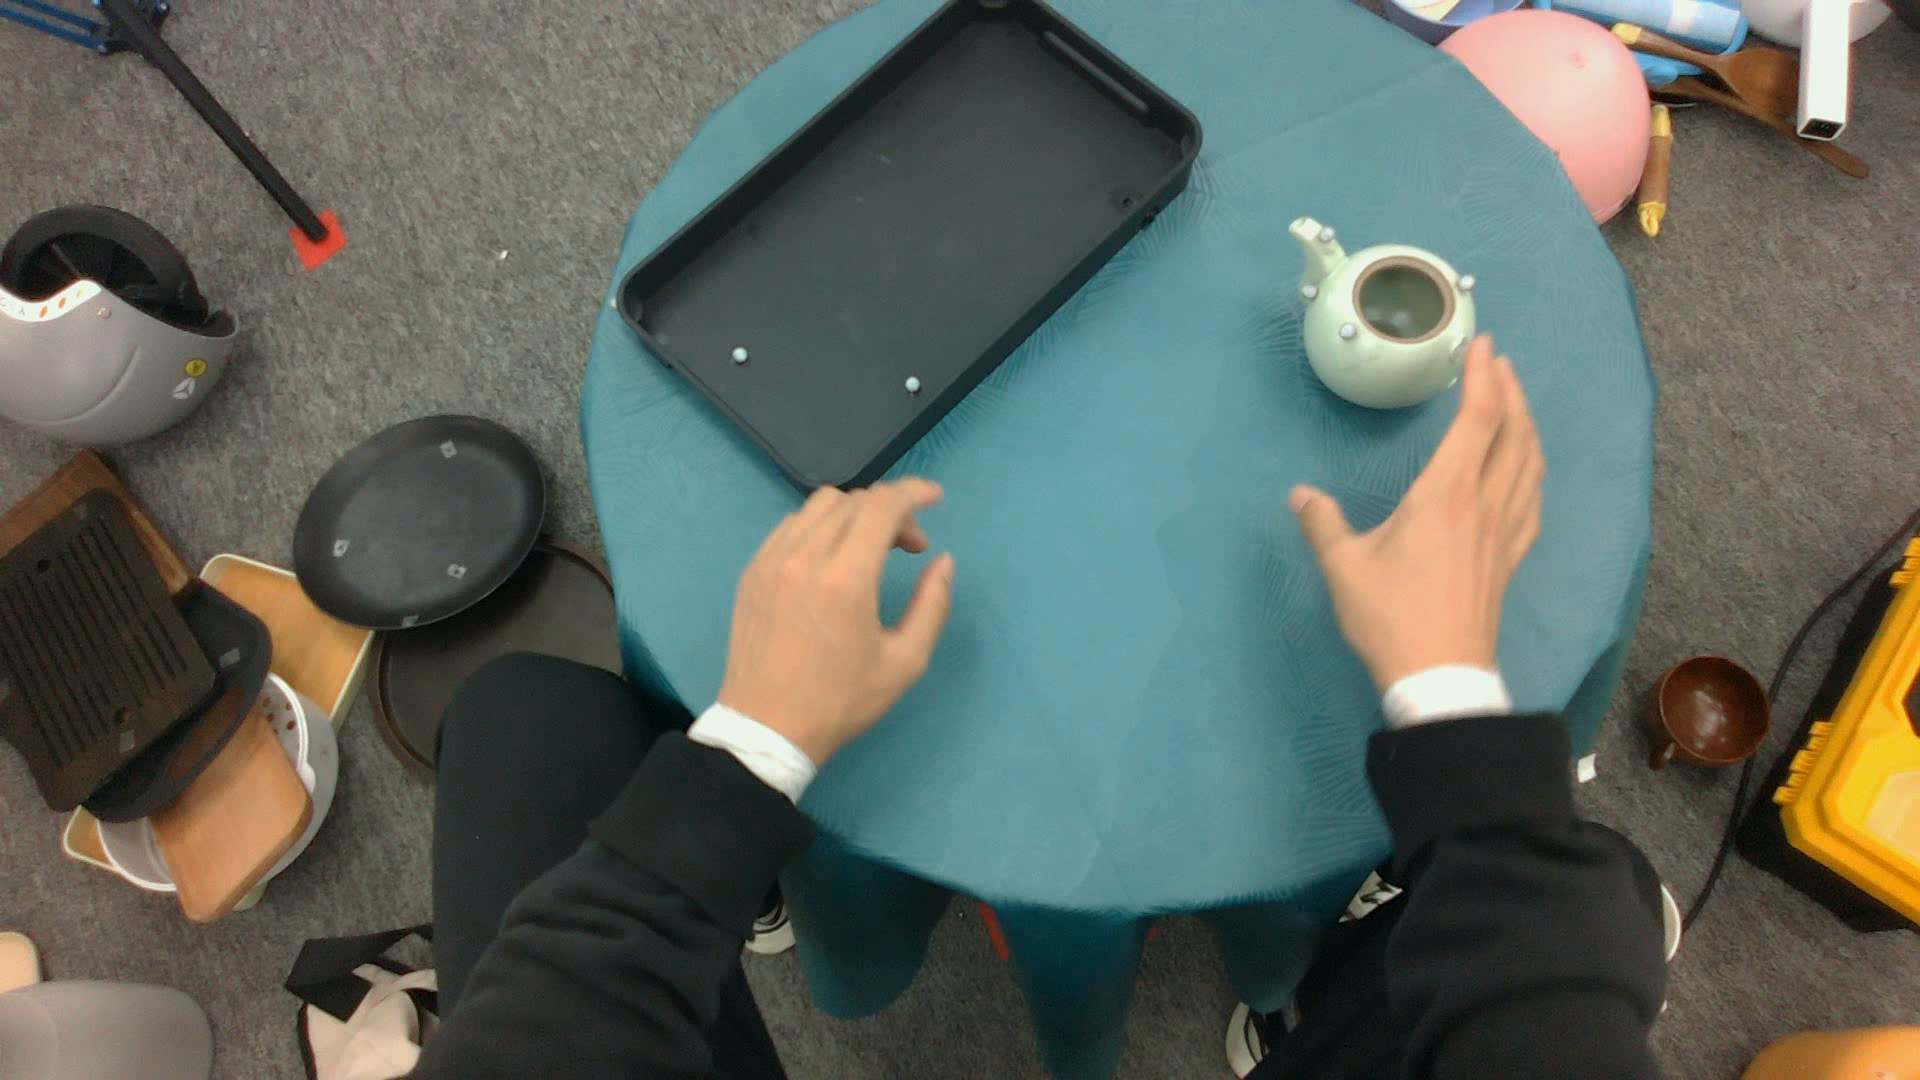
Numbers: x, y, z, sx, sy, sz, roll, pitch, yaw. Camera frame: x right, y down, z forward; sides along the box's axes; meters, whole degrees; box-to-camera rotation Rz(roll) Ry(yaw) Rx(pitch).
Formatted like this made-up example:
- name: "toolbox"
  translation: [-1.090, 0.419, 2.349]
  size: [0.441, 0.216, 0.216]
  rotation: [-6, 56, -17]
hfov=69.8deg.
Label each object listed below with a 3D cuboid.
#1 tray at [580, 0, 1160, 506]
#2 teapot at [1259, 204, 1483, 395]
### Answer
- name: "tray"
  translation: [-0.047, -0.180, 0.797]
  size: [0.184, 0.037, 0.319]
  rotation: [39, 74, 14]
- name: "teapot"
  translation: [0.215, -0.123, 0.751]
  size: [0.144, 0.074, 0.088]
  rotation: [41, 76, 12]
